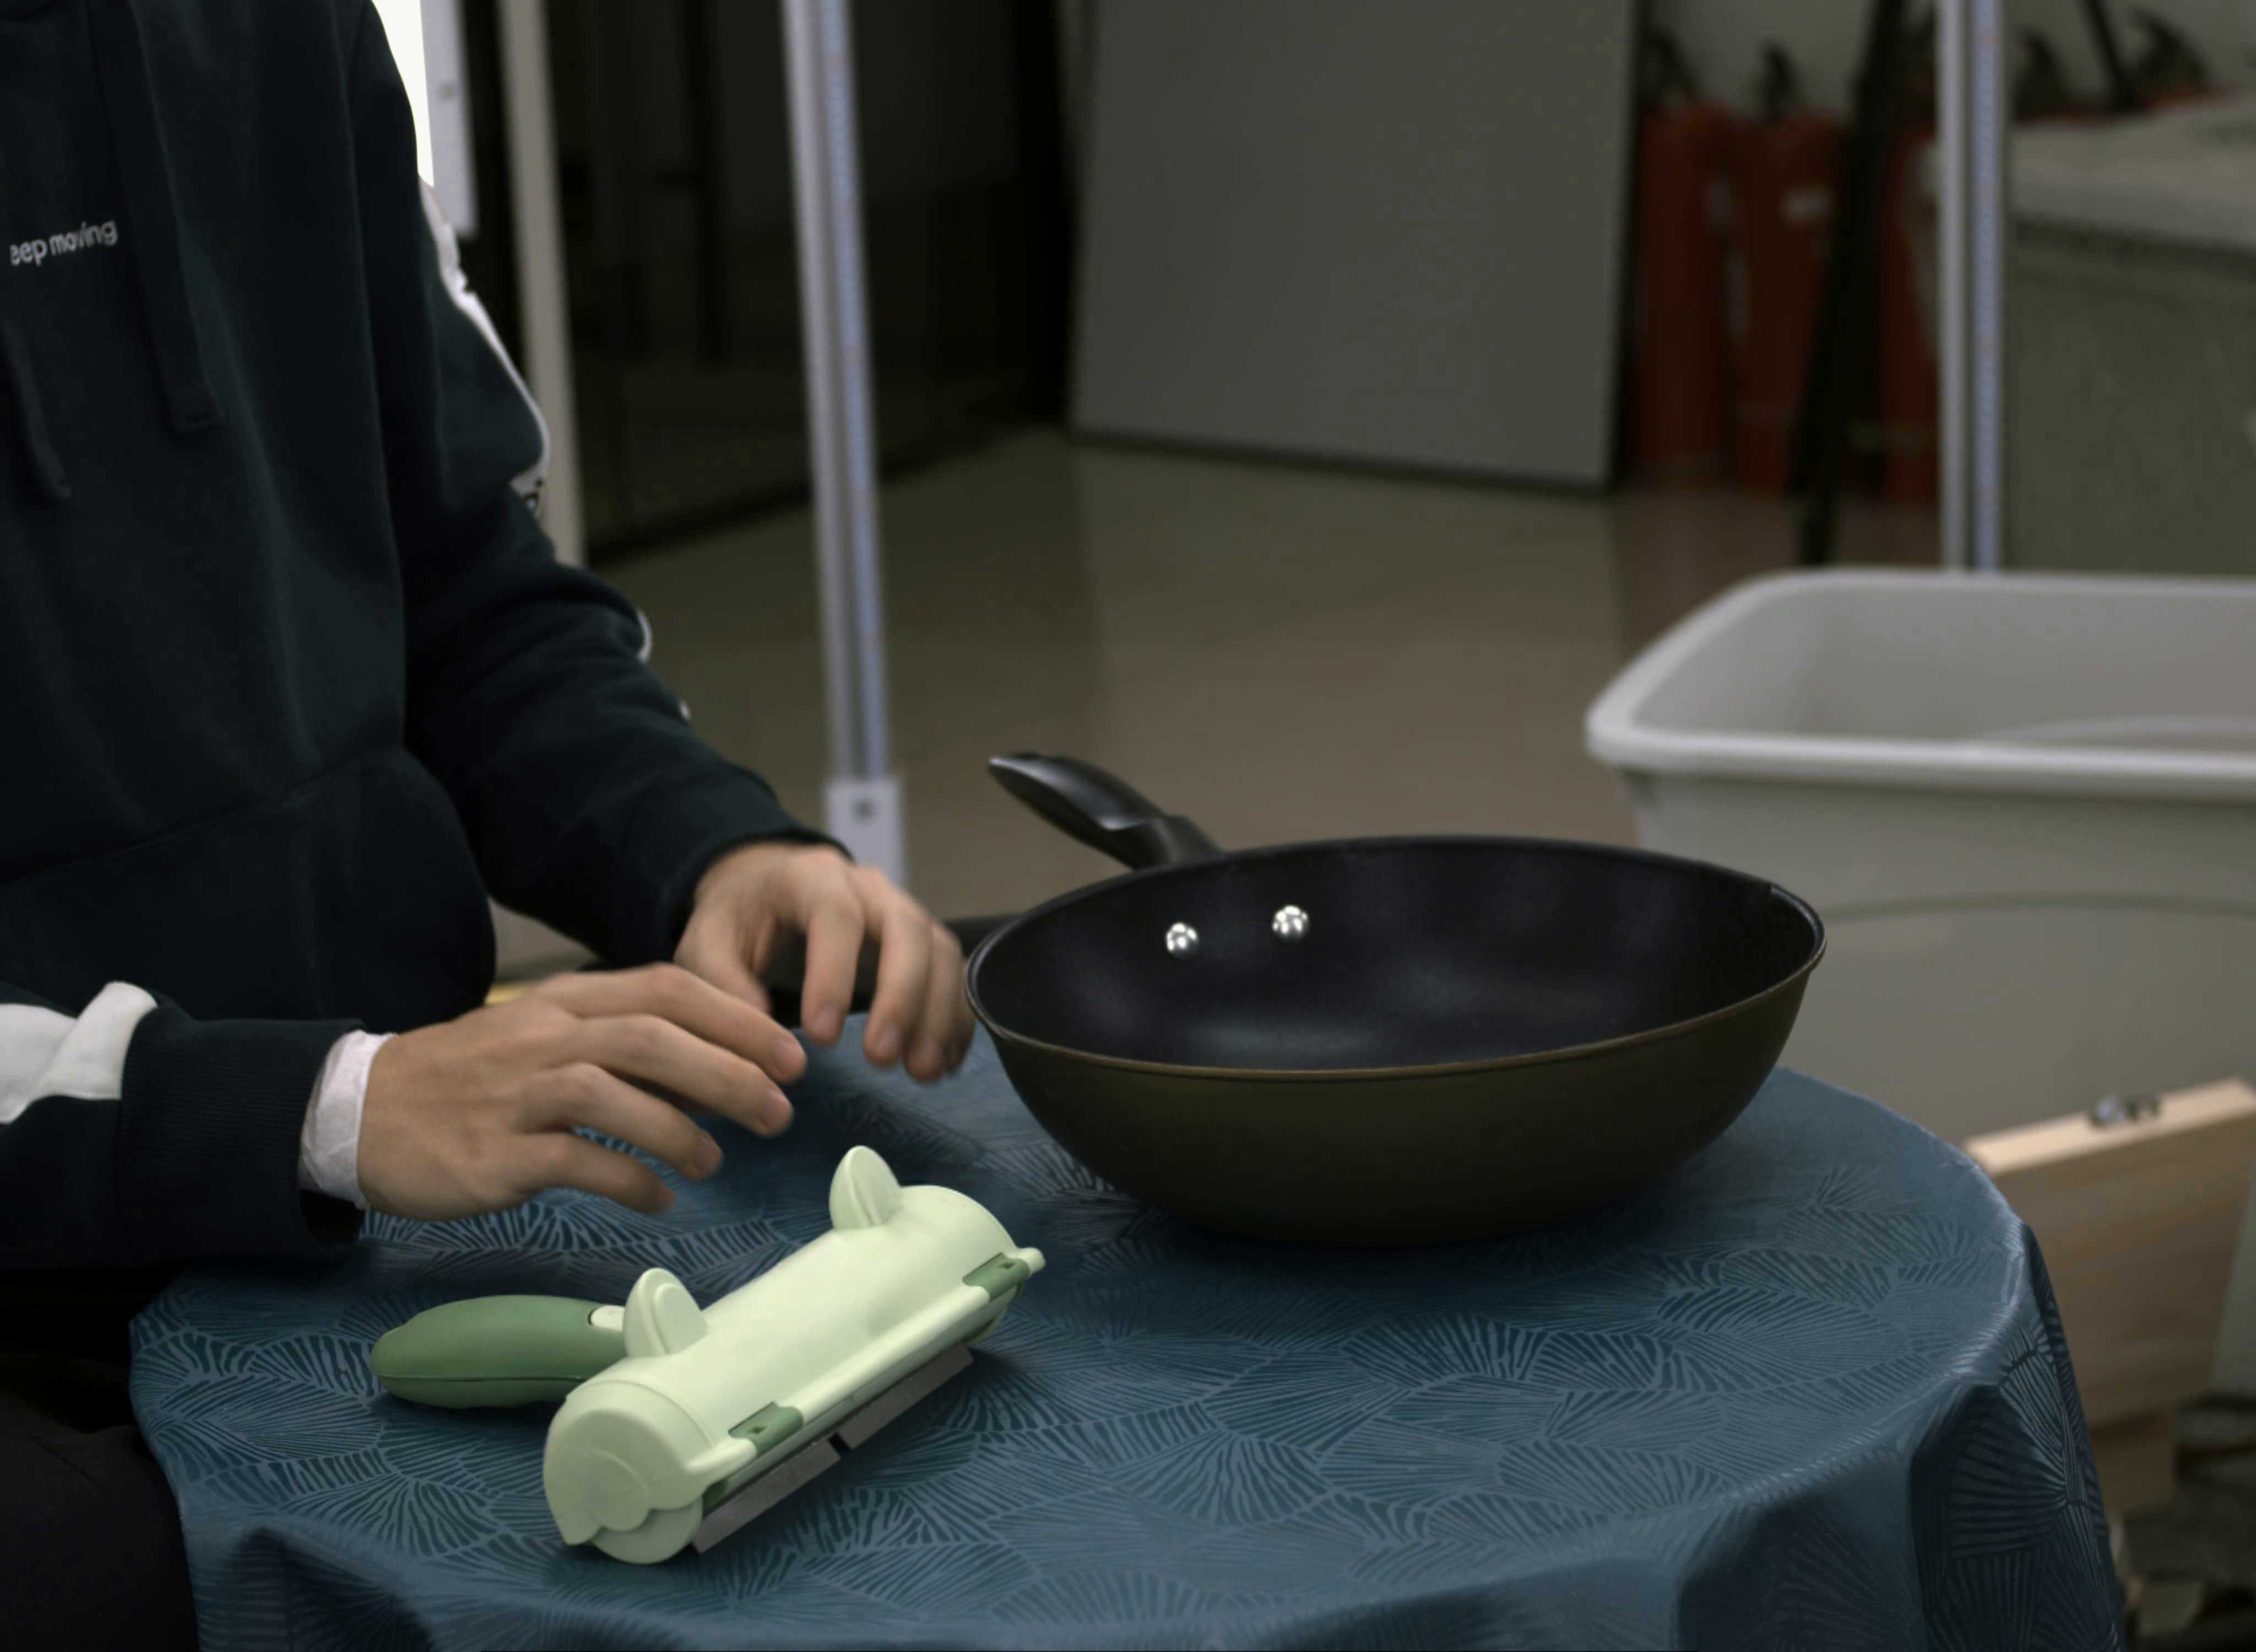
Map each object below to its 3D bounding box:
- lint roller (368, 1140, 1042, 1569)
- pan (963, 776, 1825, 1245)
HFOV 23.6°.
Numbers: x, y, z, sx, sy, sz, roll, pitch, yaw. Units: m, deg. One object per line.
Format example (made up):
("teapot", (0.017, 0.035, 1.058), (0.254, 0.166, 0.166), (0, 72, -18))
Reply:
("lint roller", (-0.146, 0.141, 1.577), (0.184, 0.083, 0.196), (9, 19, 27))
("pan", (0.051, 0.059, 1.835), (0.282, 0.088, 0.468), (-9, 13, -22))
